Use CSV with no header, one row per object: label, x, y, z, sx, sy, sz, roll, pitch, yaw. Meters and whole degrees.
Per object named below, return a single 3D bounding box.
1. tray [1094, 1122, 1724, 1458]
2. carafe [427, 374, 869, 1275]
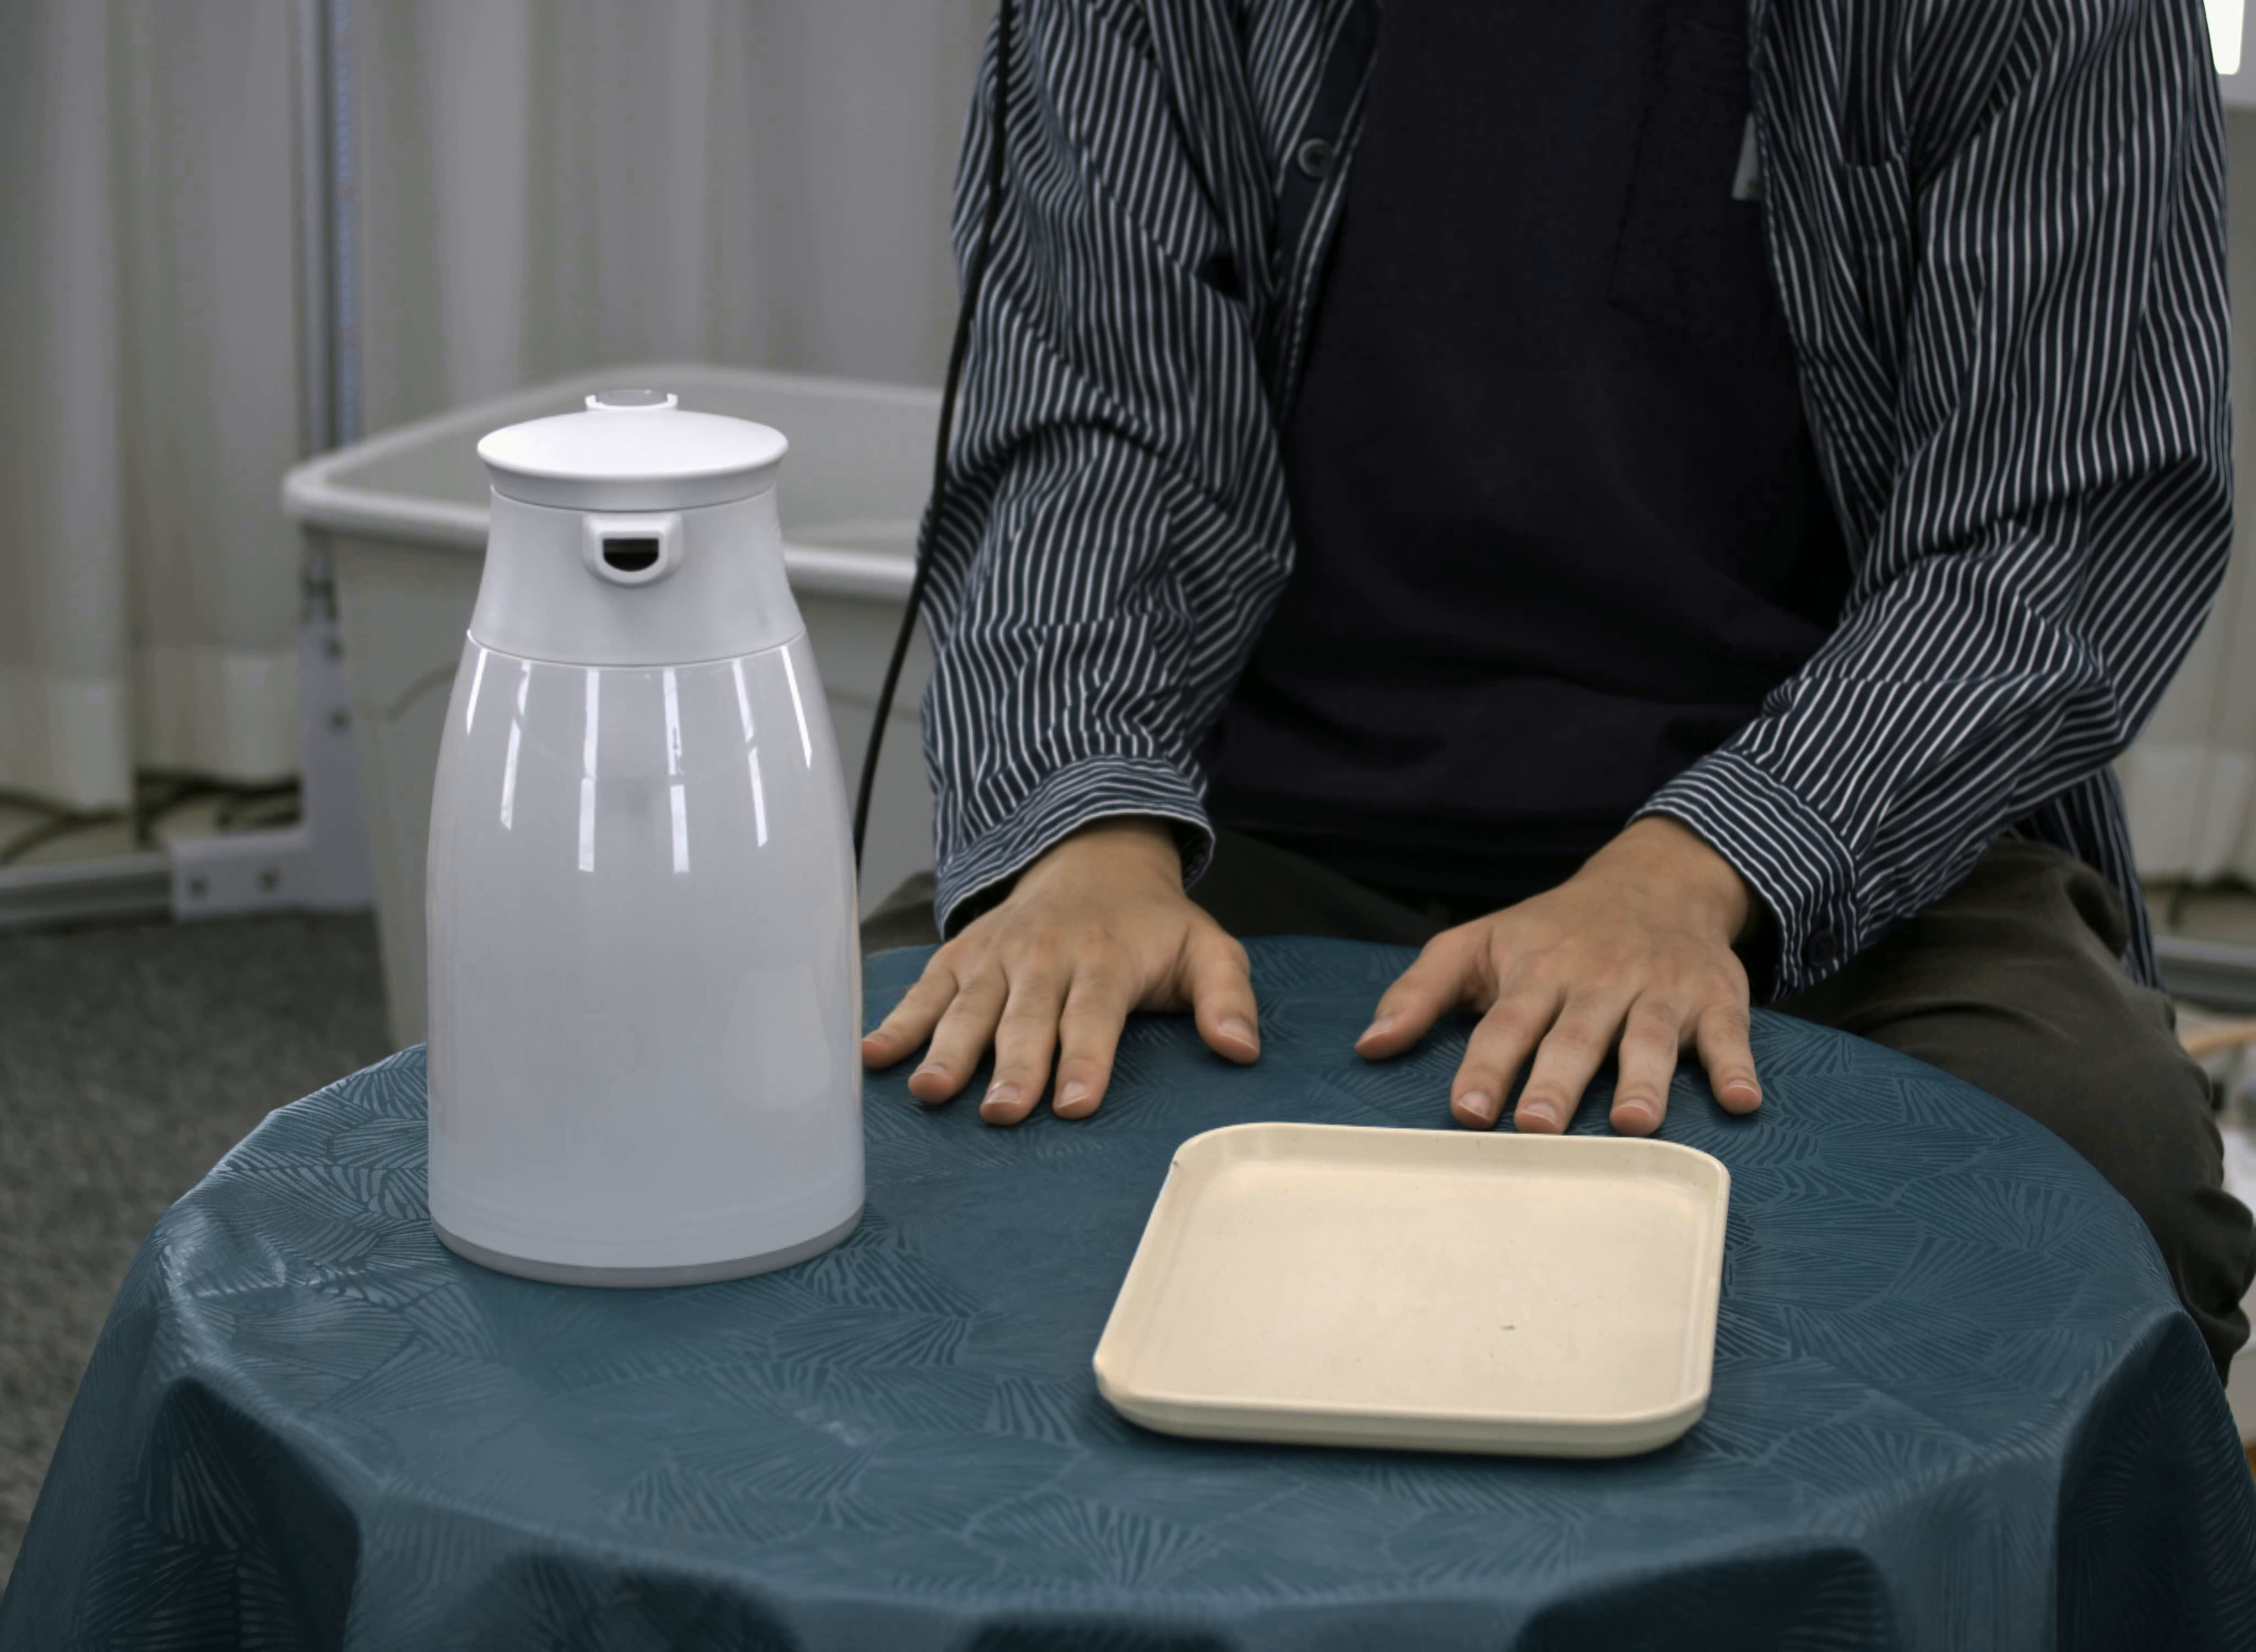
tray,0.085,0.133,1.525,0.170,0.017,0.239,3,15,7
carafe,-0.149,-0.009,1.587,0.132,0.250,0.166,-3,15,-9
